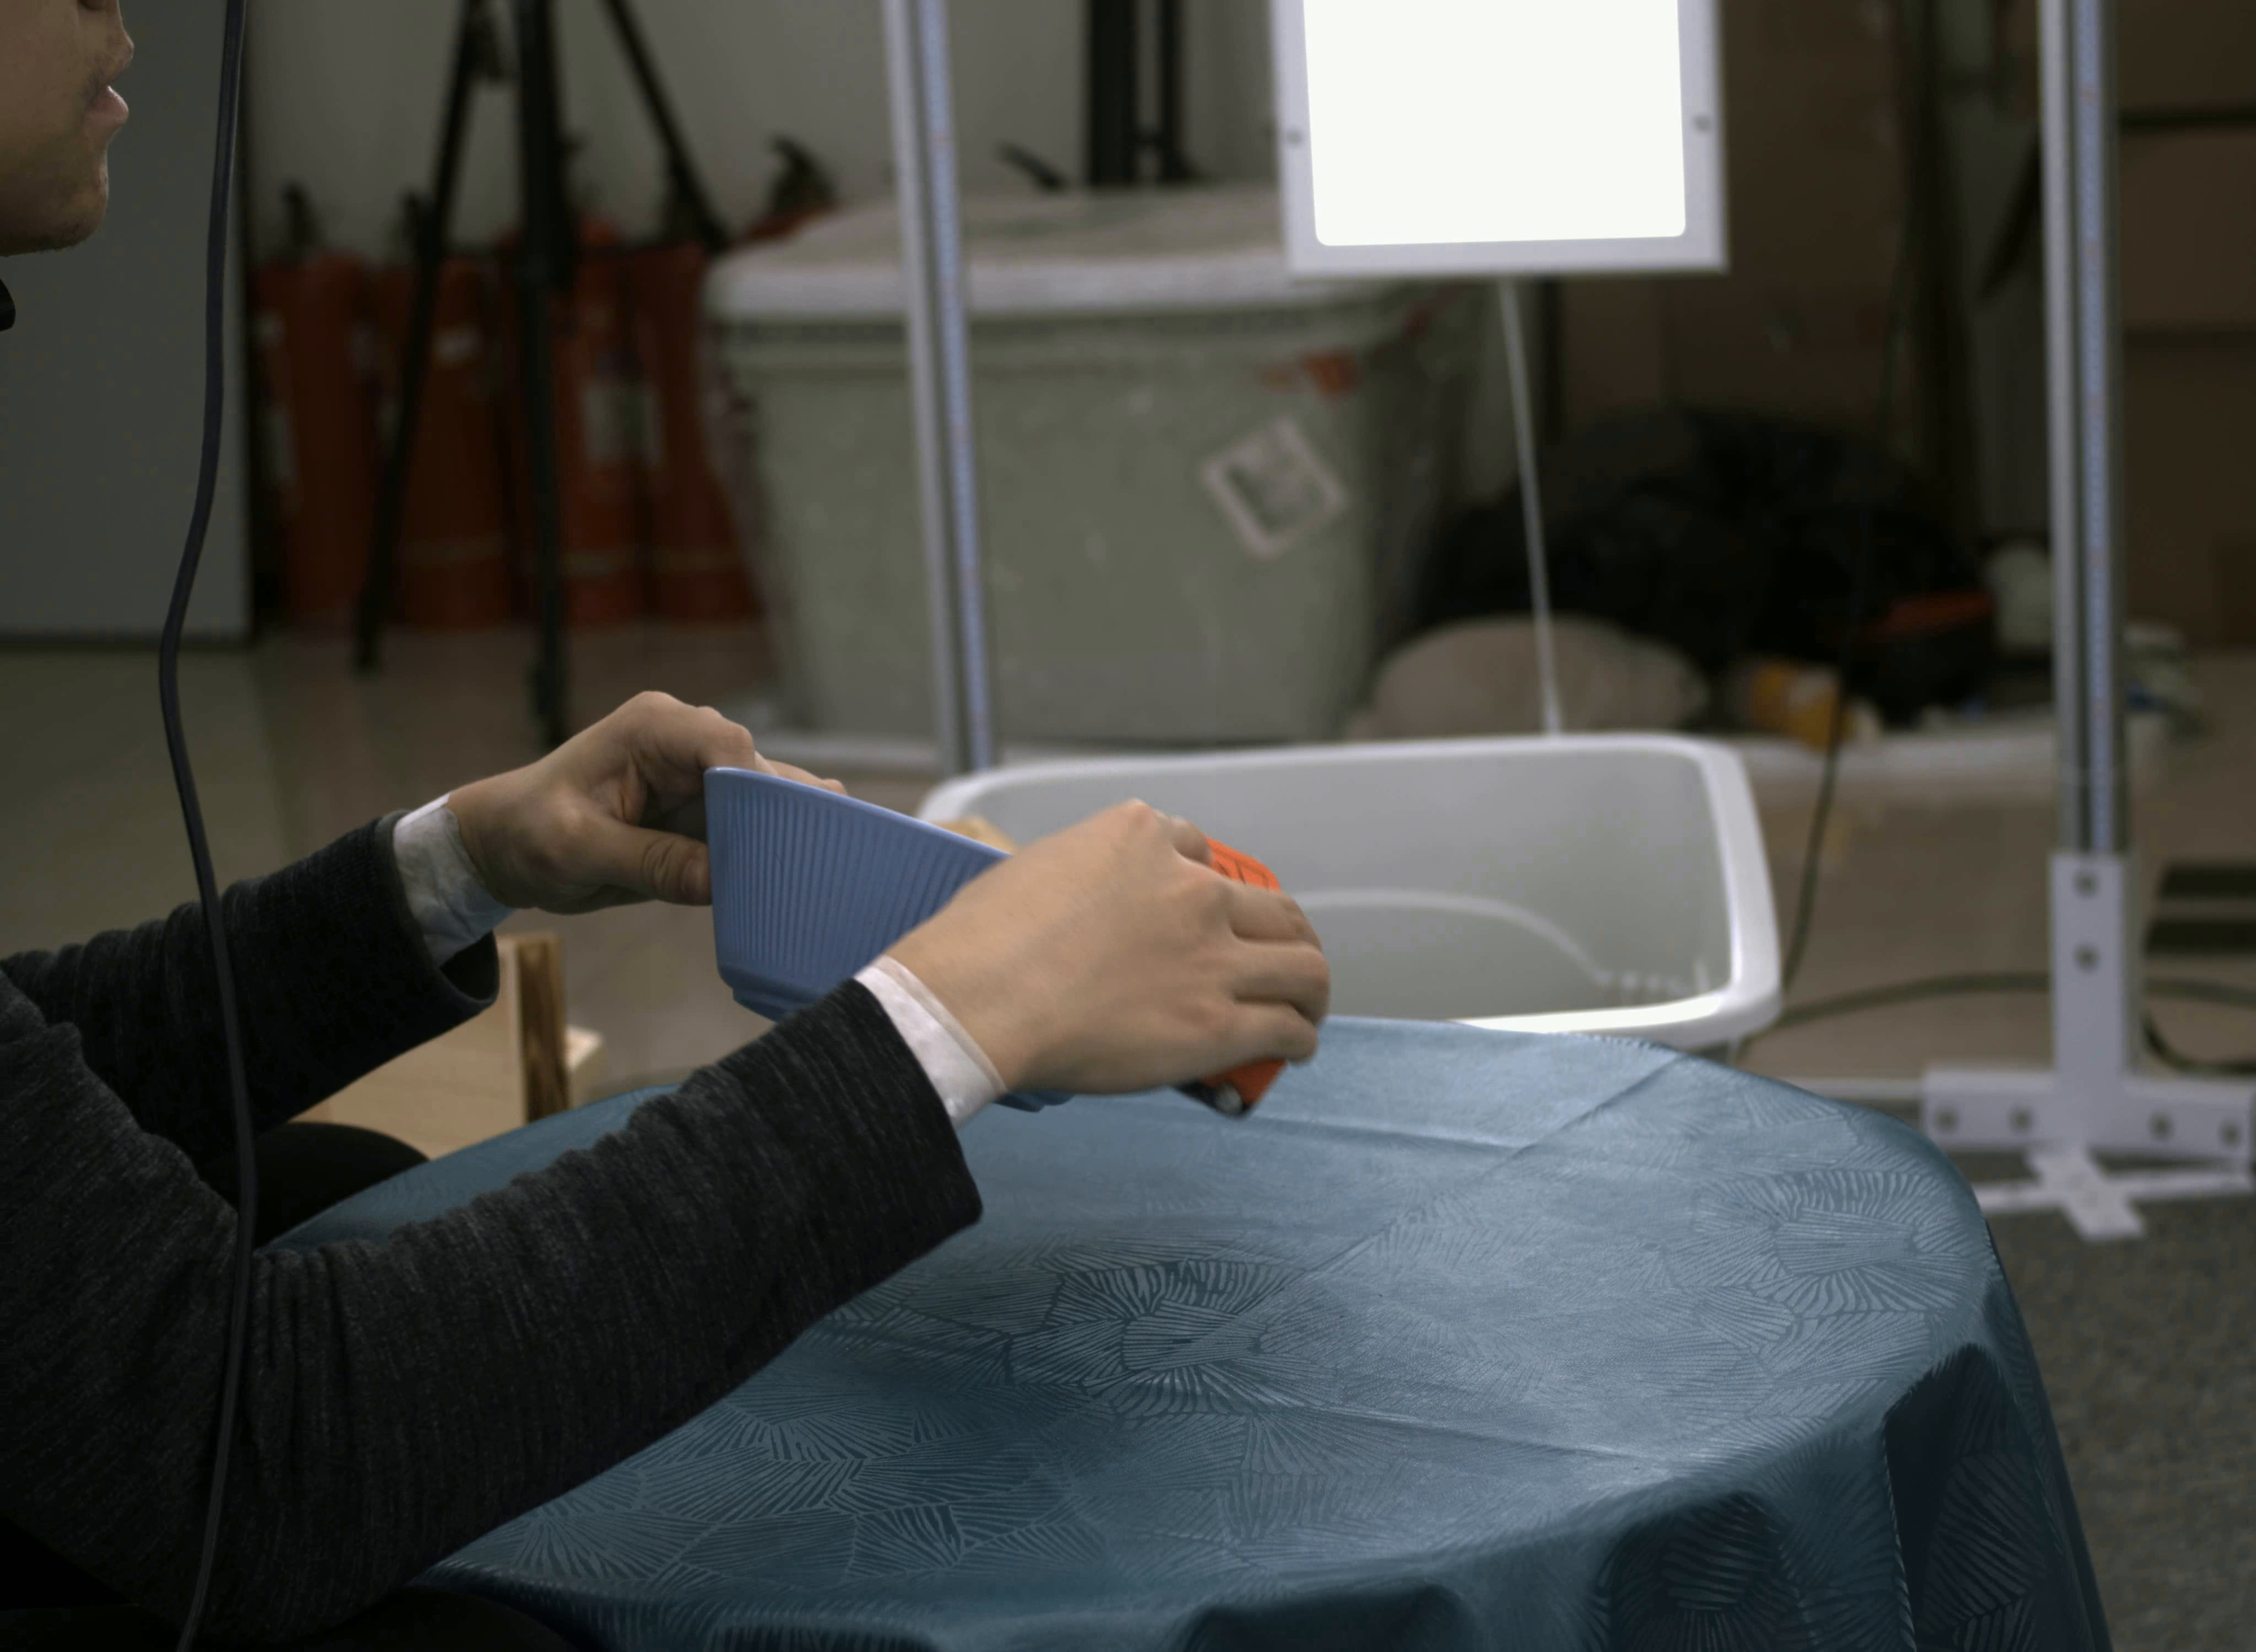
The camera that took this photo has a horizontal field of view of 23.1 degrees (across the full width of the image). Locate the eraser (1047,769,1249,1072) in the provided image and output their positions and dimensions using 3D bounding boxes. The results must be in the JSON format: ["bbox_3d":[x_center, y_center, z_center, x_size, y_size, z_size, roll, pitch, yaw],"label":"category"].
[{"bbox_3d":[0.006,0.029,1.703,0.058,0.023,0.108,24,31,-19],"label":"eraser"}]

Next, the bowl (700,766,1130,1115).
[{"bbox_3d":[-0.069,0.043,1.797,0.176,0.070,0.176,20,-6,1],"label":"bowl"}]
